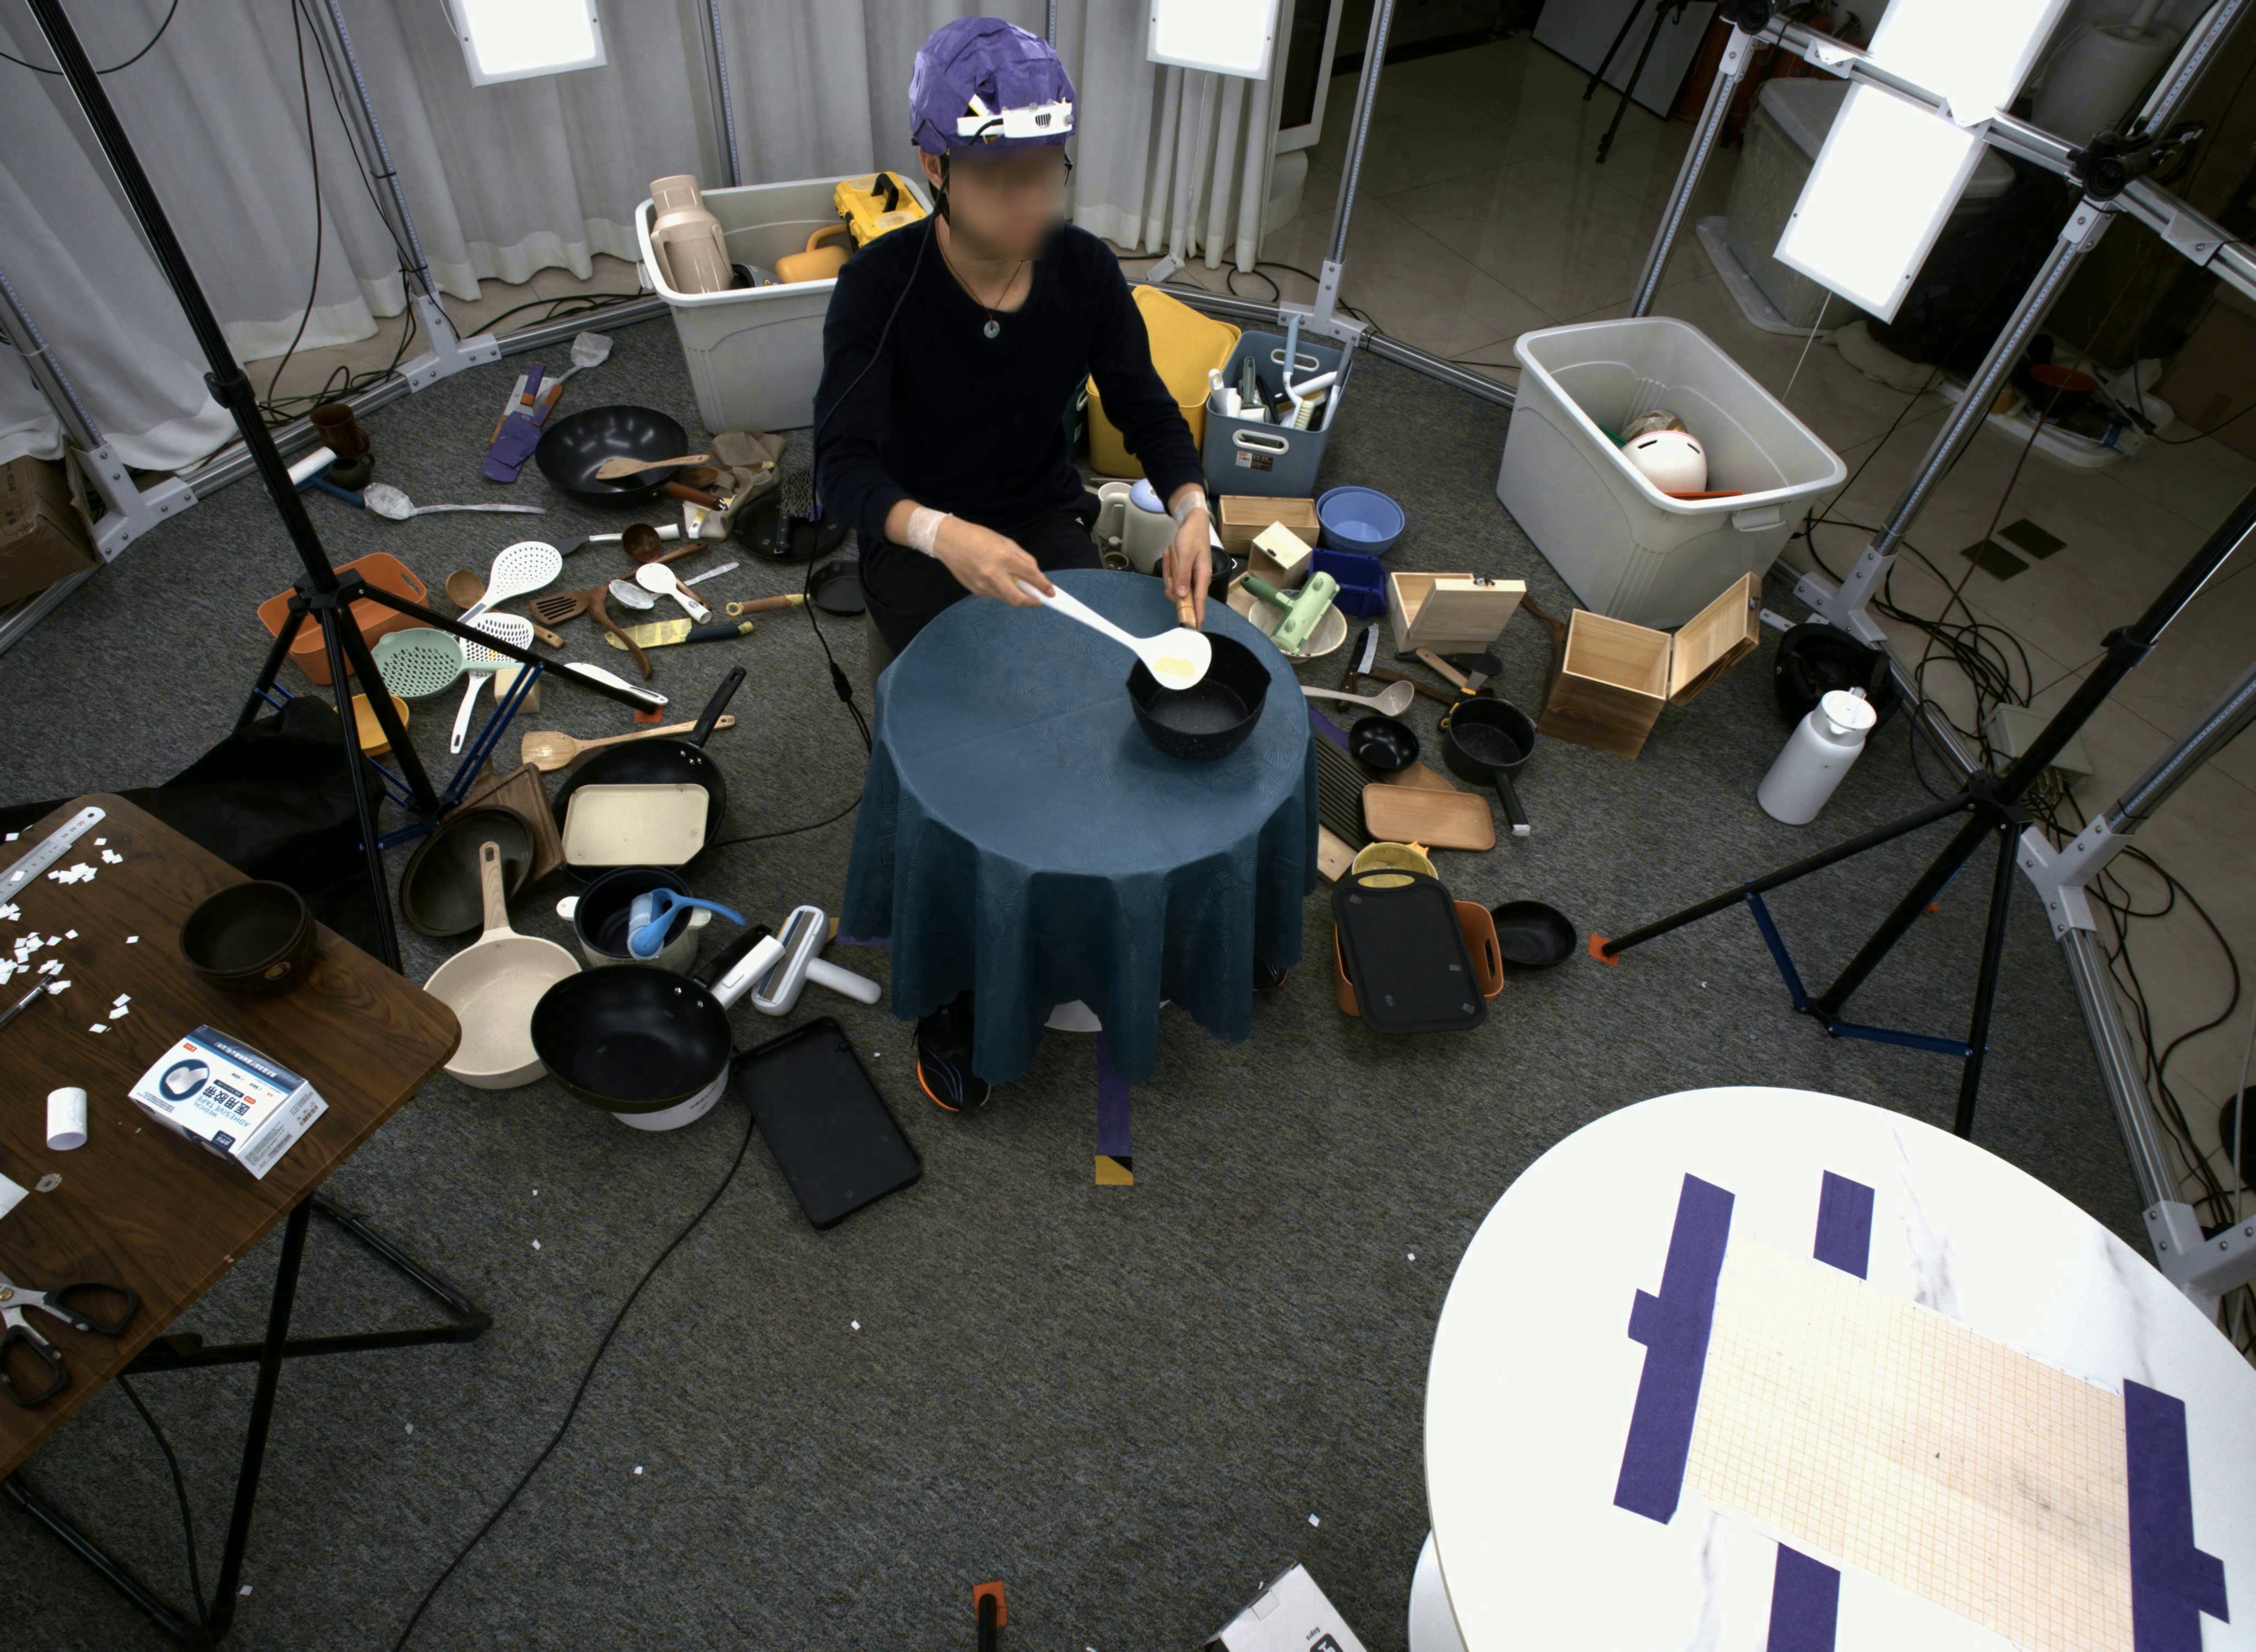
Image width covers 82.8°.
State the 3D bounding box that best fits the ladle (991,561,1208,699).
[{"bbox_3d":[-0.035,-0.256,1.640,0.290,0.070,0.091,27,80,-21],"label":"ladle"}]

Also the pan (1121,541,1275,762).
[{"bbox_3d":[0.086,-0.244,1.800,0.207,0.106,0.351,-6,55,-3],"label":"pan"}]
